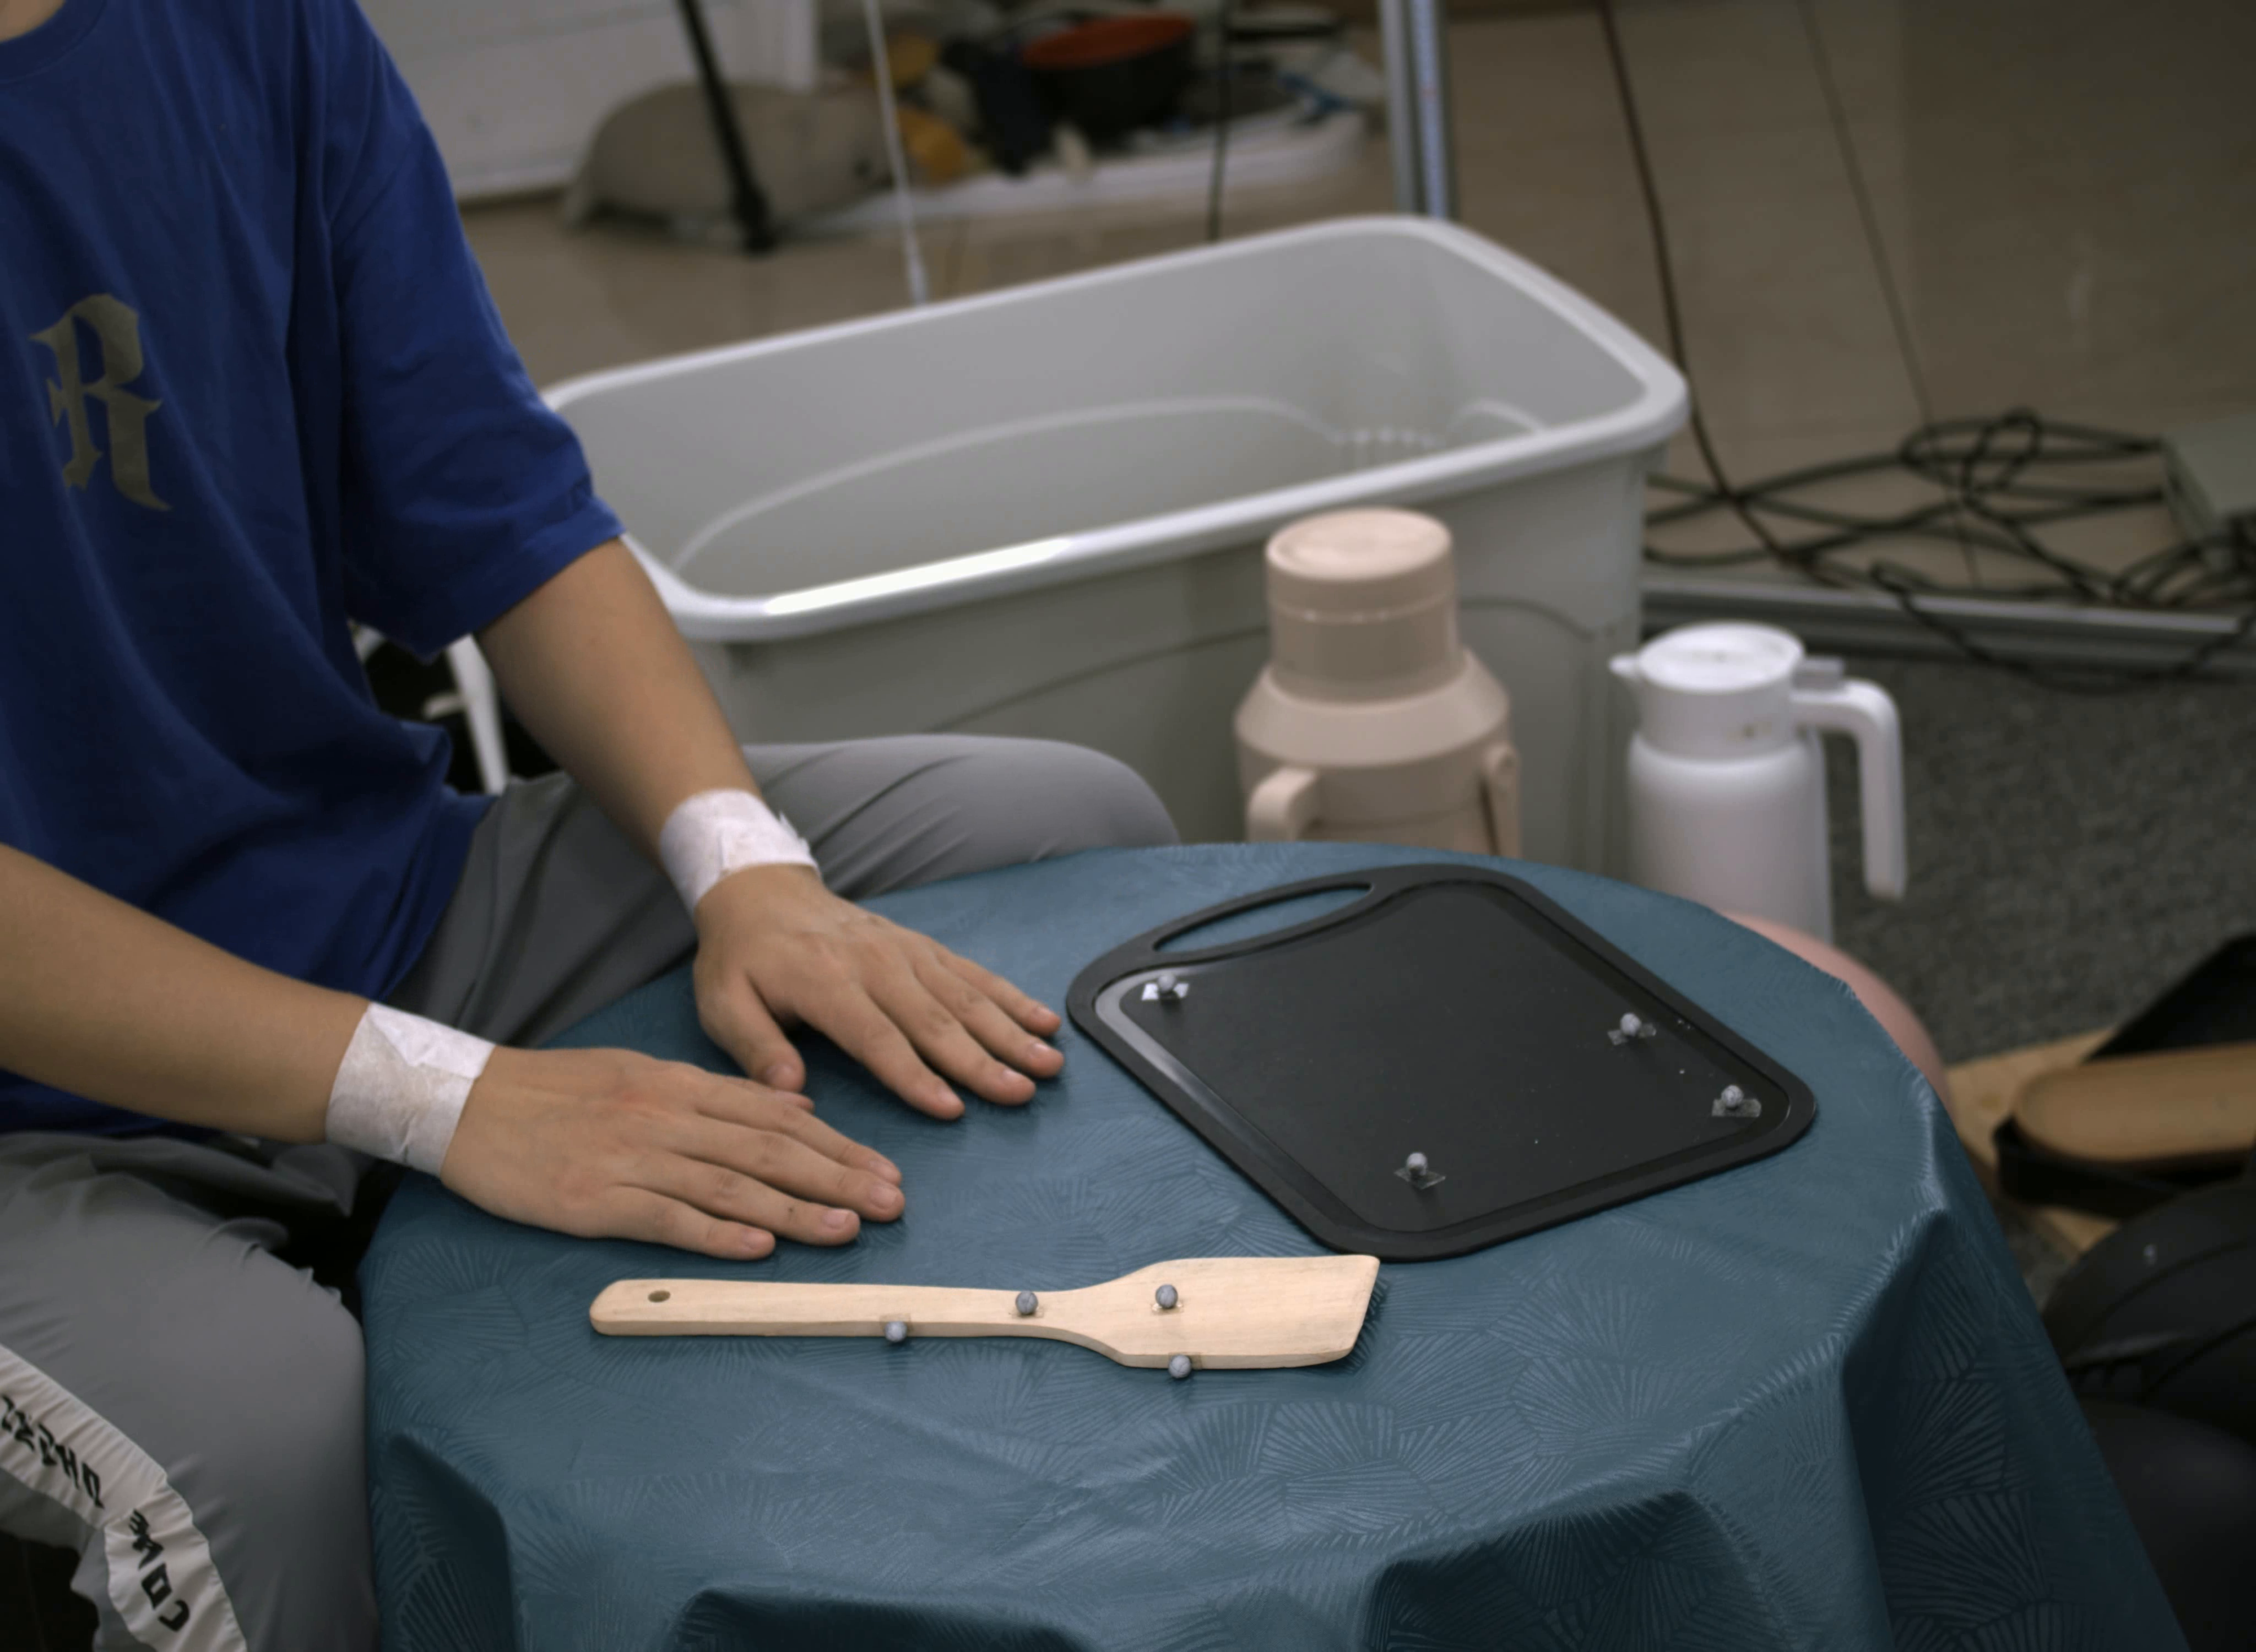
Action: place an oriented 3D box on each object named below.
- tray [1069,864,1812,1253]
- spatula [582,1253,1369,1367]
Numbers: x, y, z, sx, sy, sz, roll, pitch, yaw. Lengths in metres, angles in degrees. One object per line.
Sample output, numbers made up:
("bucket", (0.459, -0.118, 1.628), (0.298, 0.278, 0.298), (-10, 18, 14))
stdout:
("tray", (0.113, 0.083, 2.231), (0.210, 0.010, 0.321), (-16, 26, -19))
("spatula", (-0.059, 0.176, 2.071), (0.292, 0.011, 0.071), (-1, 27, 13))
